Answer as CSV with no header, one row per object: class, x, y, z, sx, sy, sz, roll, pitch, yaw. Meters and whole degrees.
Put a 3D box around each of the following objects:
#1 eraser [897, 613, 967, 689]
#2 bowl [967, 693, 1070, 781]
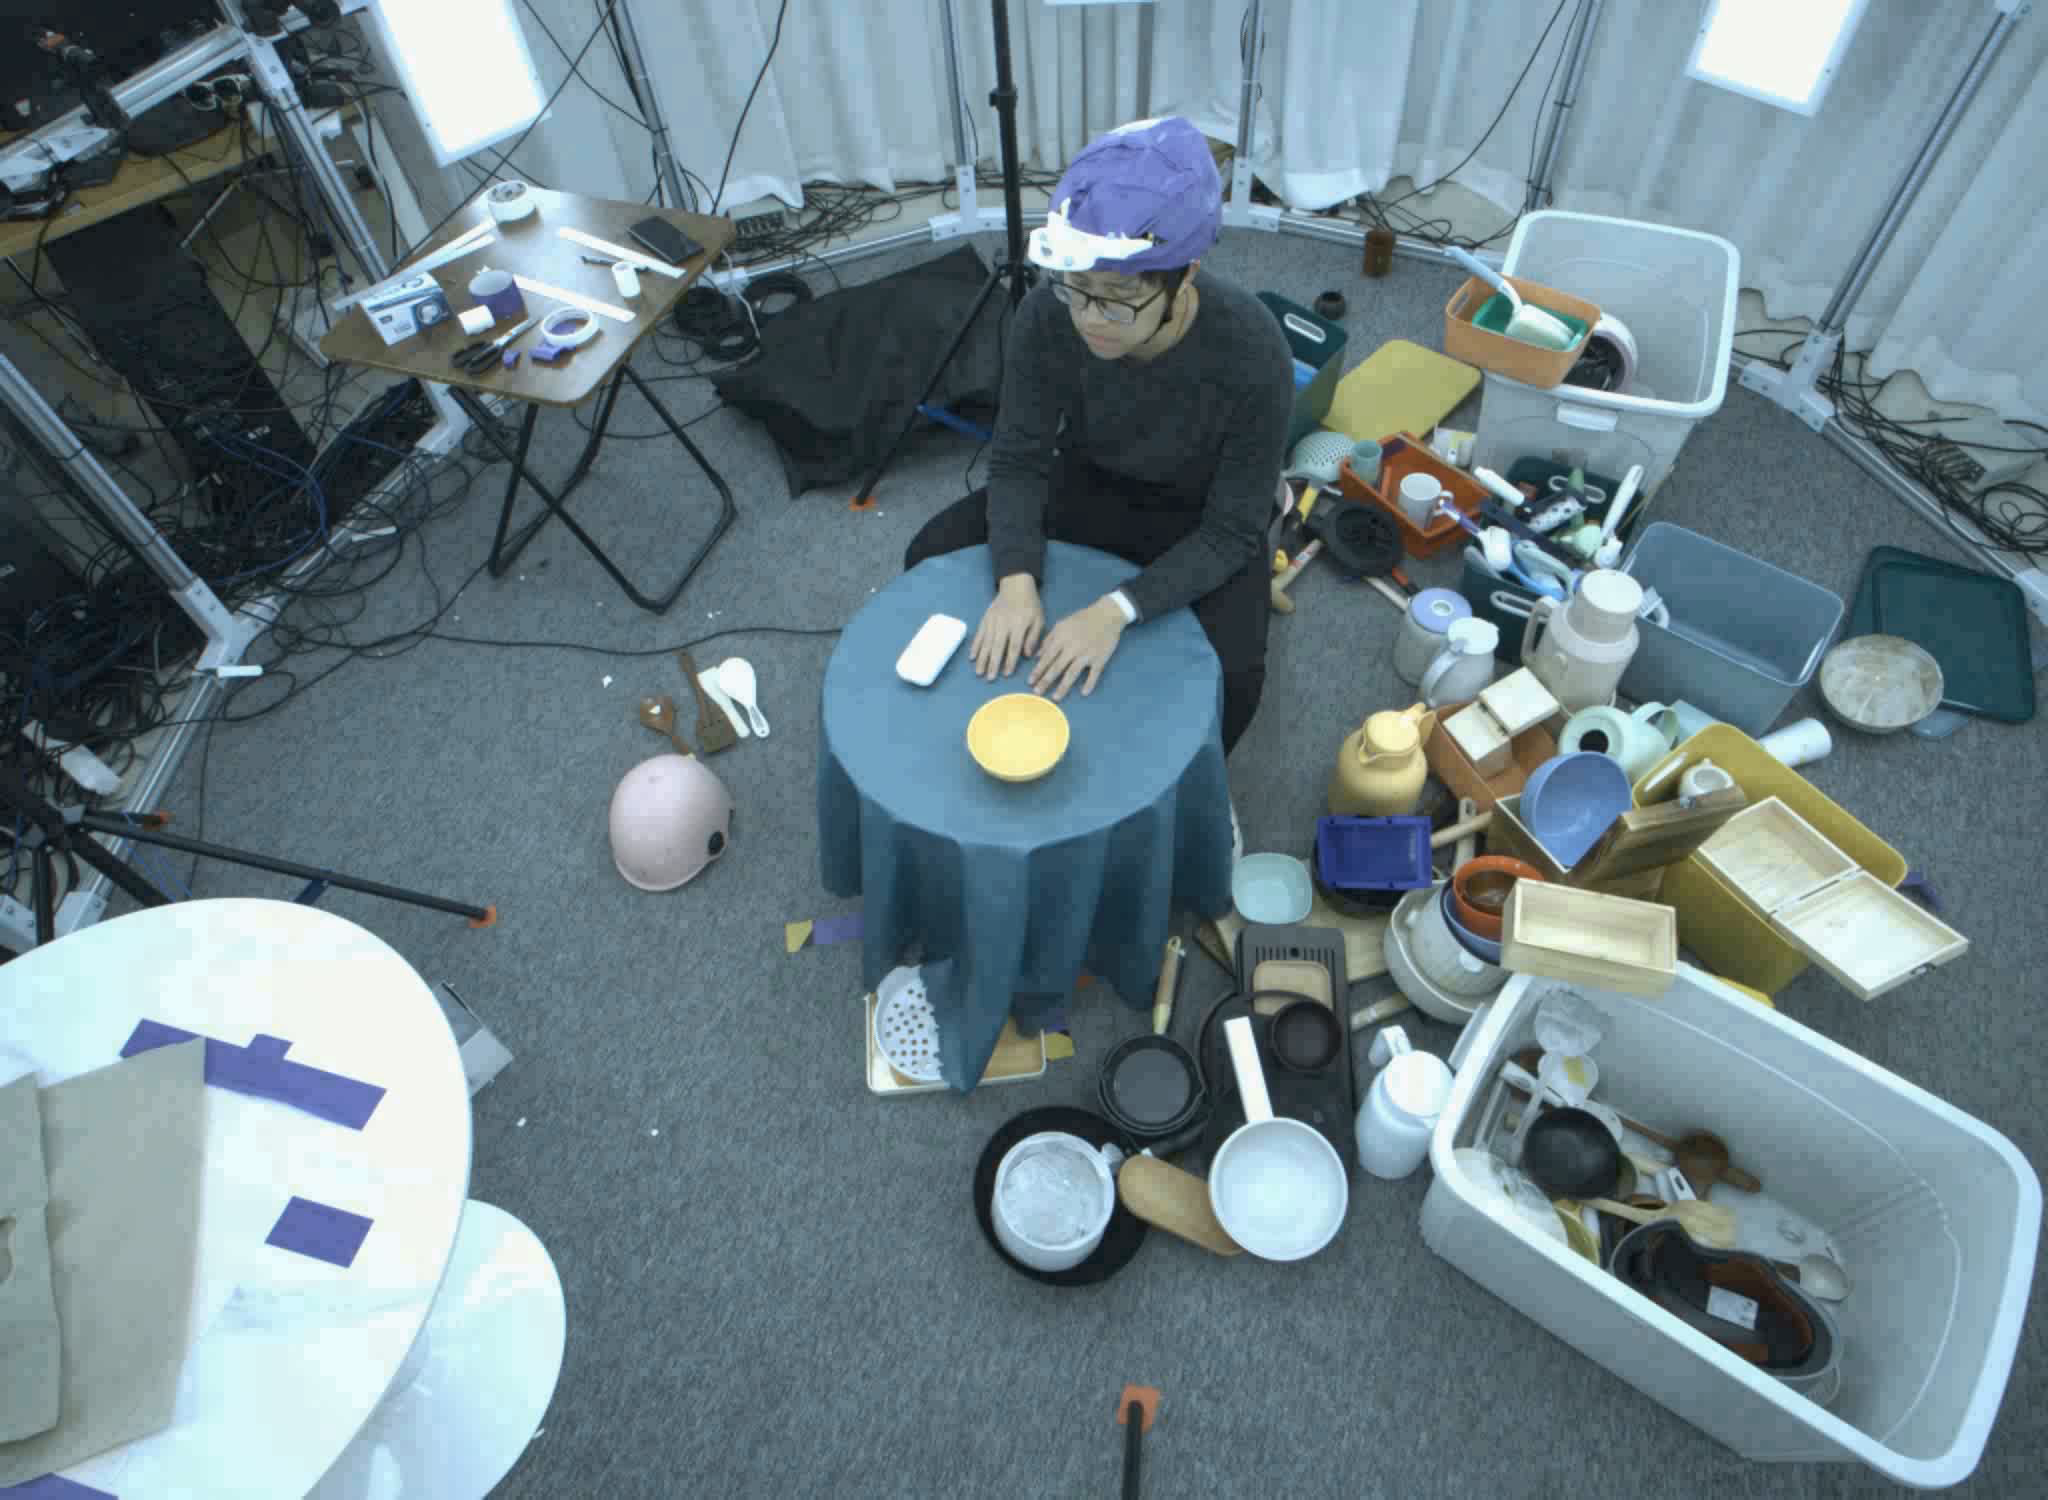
eraser,-0.139,-0.154,1.882,0.062,0.035,0.131,23,60,16
bowl,-0.007,-0.007,1.758,0.145,0.061,0.144,0,55,1
